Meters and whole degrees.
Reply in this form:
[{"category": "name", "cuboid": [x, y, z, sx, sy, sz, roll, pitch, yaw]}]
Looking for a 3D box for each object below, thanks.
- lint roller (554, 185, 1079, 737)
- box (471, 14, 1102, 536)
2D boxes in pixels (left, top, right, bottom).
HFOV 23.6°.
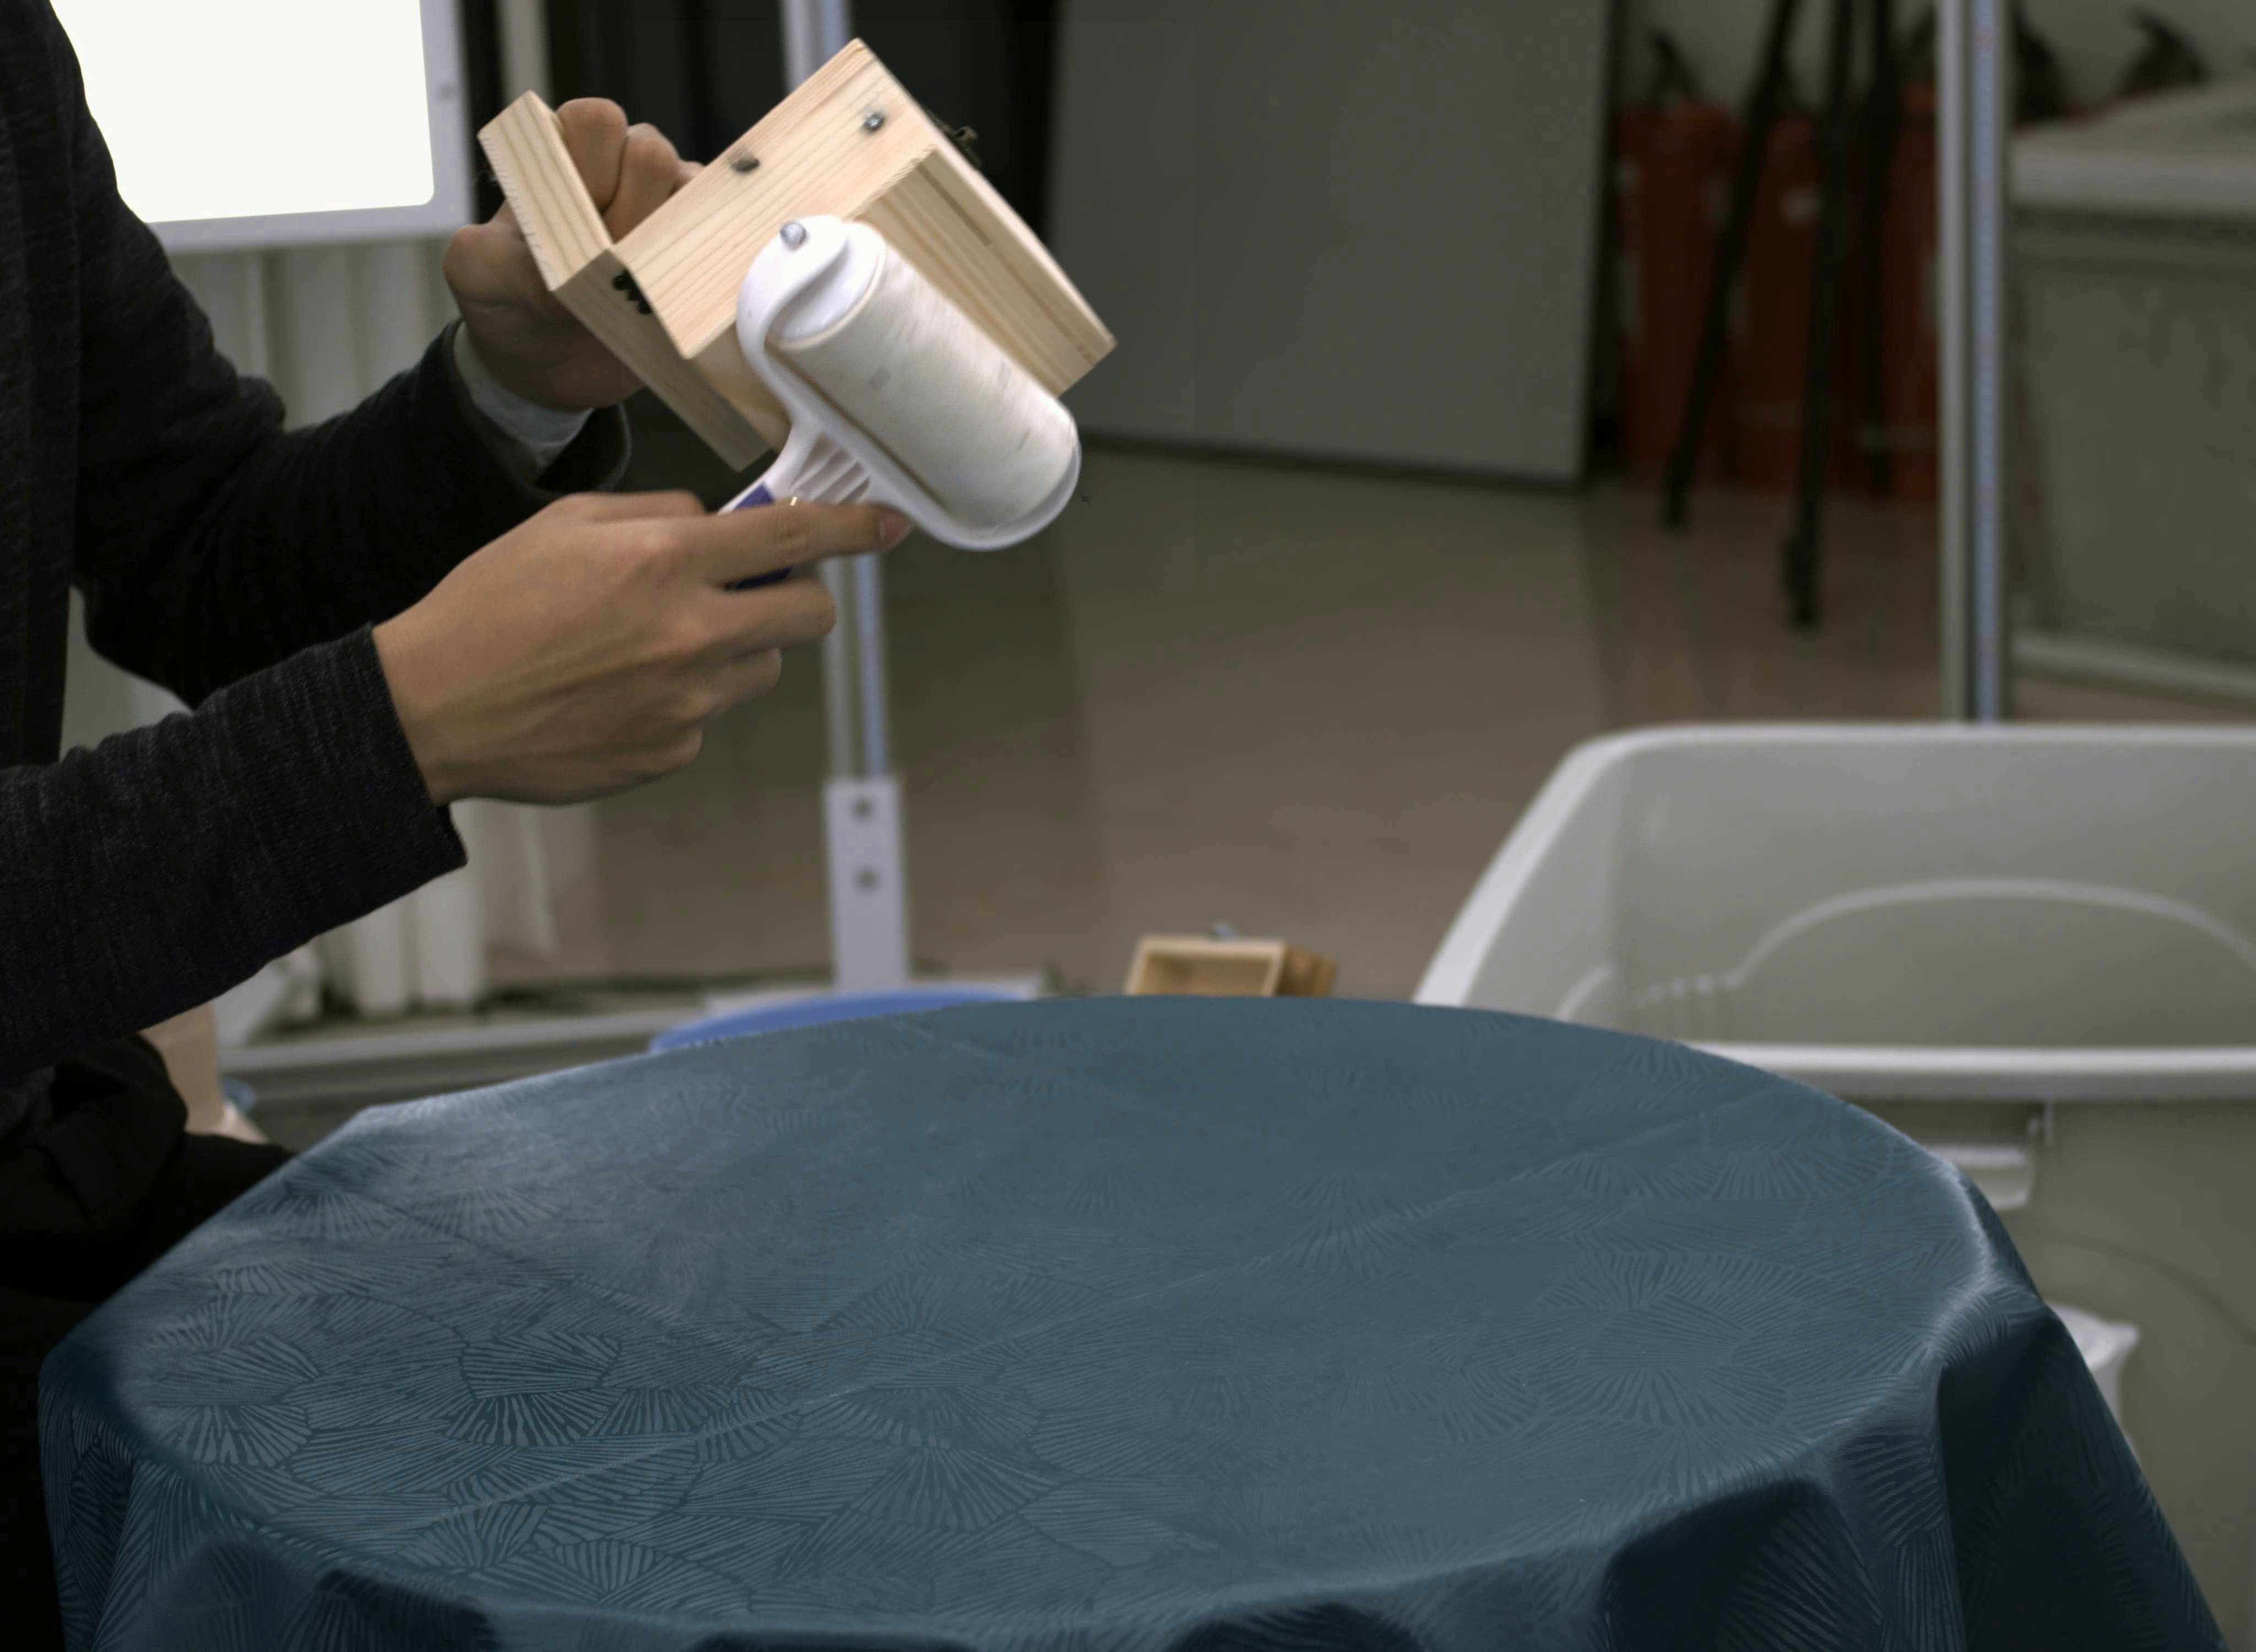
[{"category": "lint roller", "cuboid": [-0.106, -0.094, 1.627, 0.181, 0.131, 0.051, -49, 38, -2]}, {"category": "box", "cuboid": [-0.110, -0.192, 1.722, 0.134, 0.101, 0.186, -41, 39, 6]}]
